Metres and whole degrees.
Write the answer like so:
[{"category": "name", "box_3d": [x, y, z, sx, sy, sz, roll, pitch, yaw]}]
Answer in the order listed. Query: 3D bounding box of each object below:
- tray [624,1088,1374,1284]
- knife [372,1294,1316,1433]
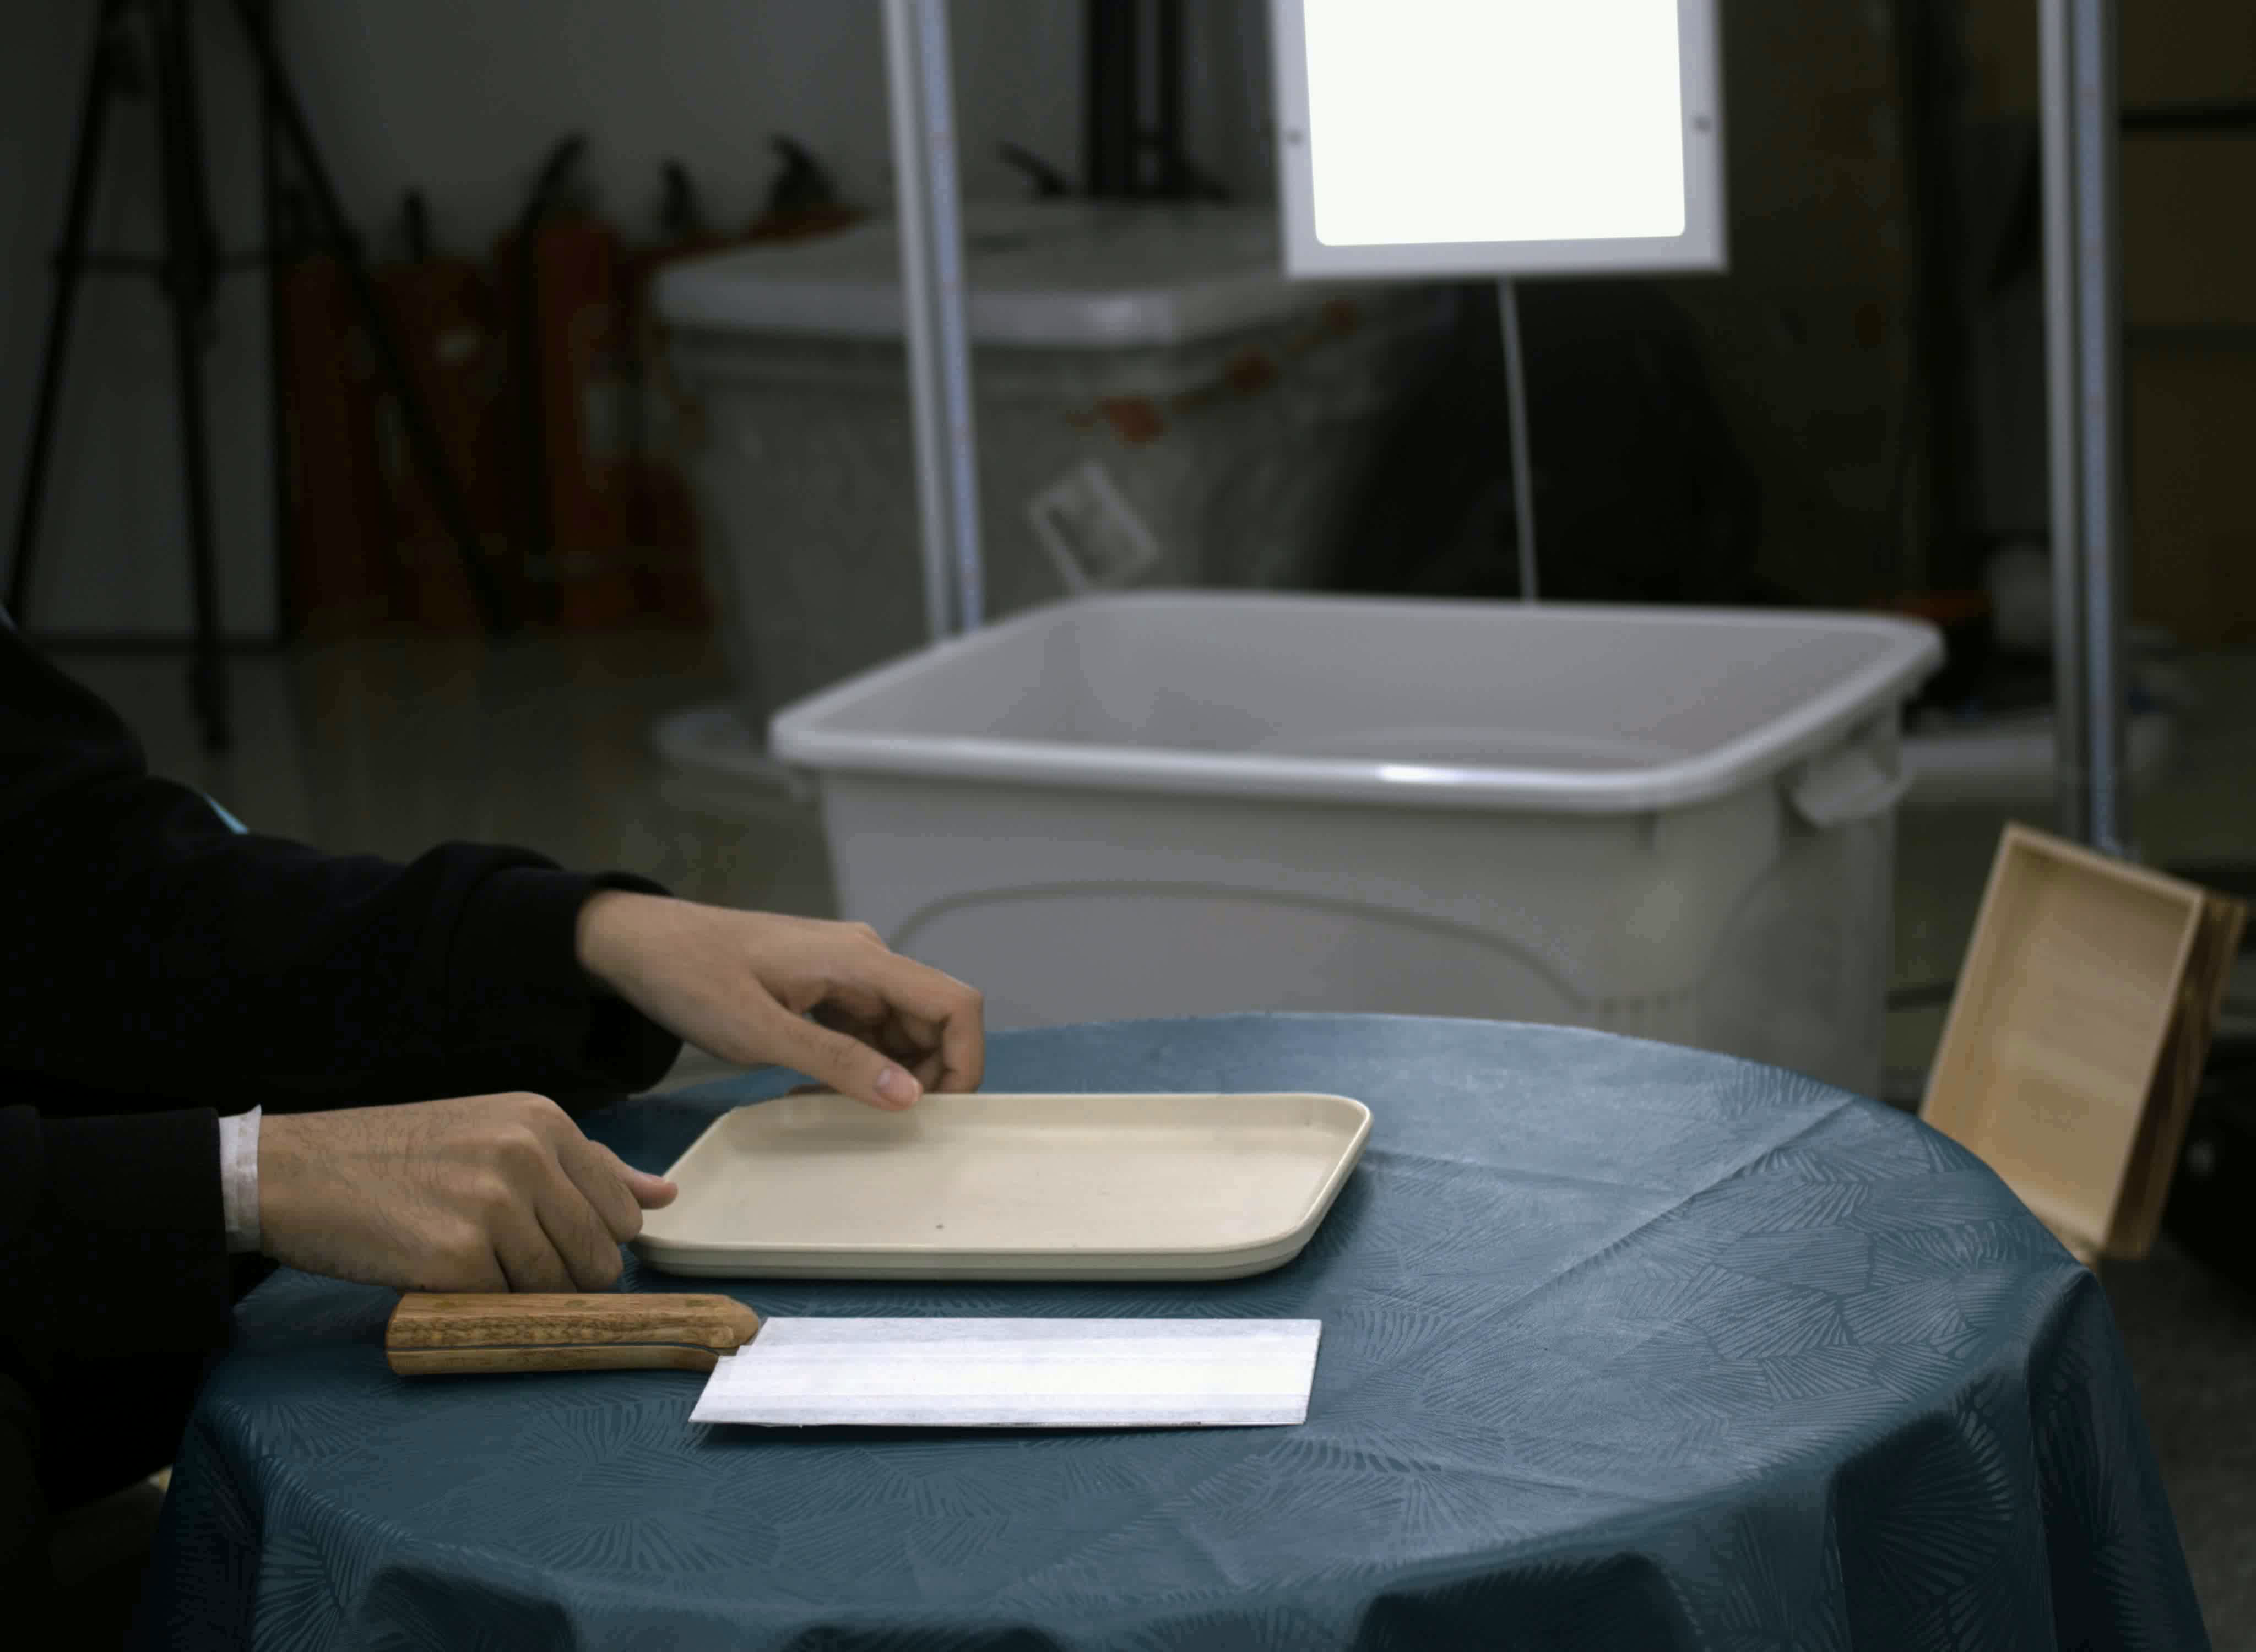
[{"category": "tray", "box_3d": [-0.042, 0.124, 1.884, 0.242, 0.017, 0.169, -1, 15, 16]}, {"category": "knife", "box_3d": [-0.093, 0.169, 1.724, 0.307, 0.021, 0.092, -1, 16, 8]}]
